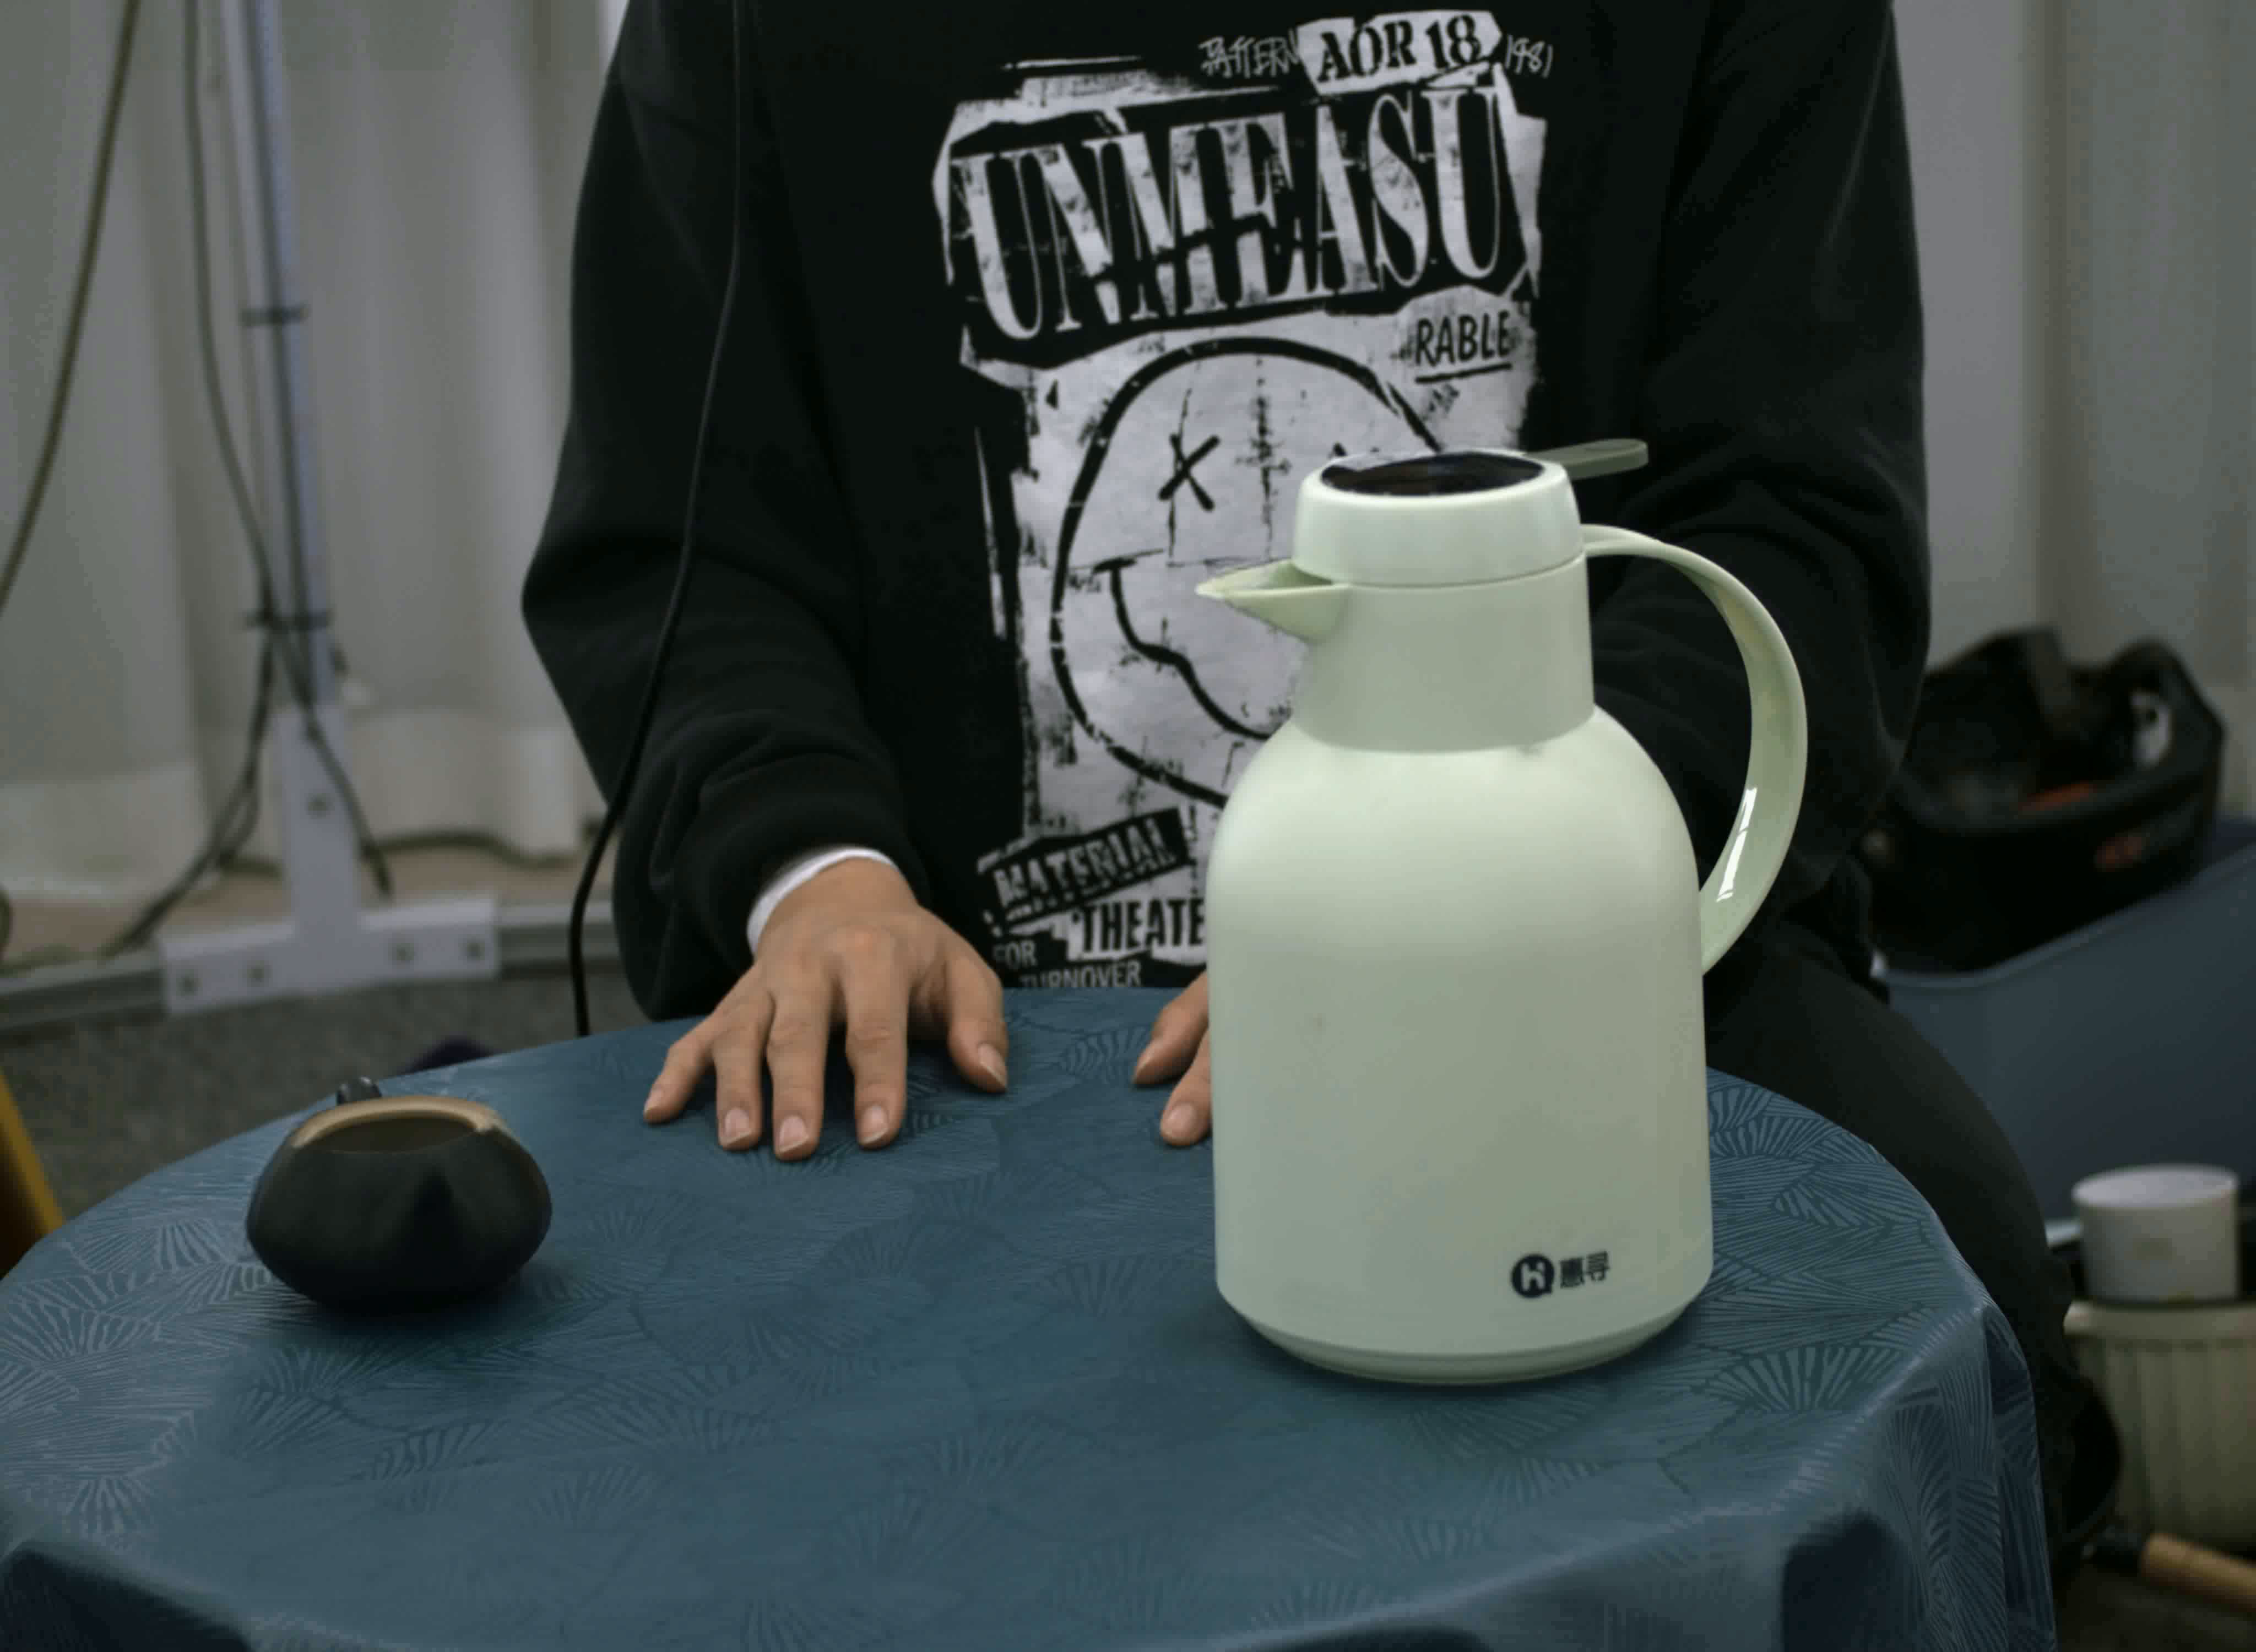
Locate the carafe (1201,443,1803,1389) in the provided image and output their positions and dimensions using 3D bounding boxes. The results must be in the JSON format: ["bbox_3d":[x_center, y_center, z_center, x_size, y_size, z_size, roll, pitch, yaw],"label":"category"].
[{"bbox_3d":[0.105,0.020,1.566,0.186,0.256,0.145,-5,12,-23],"label":"carafe"}]

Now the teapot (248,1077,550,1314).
[{"bbox_3d":[-0.220,0.115,1.654,0.090,0.053,0.134,-6,15,-18],"label":"teapot"}]
